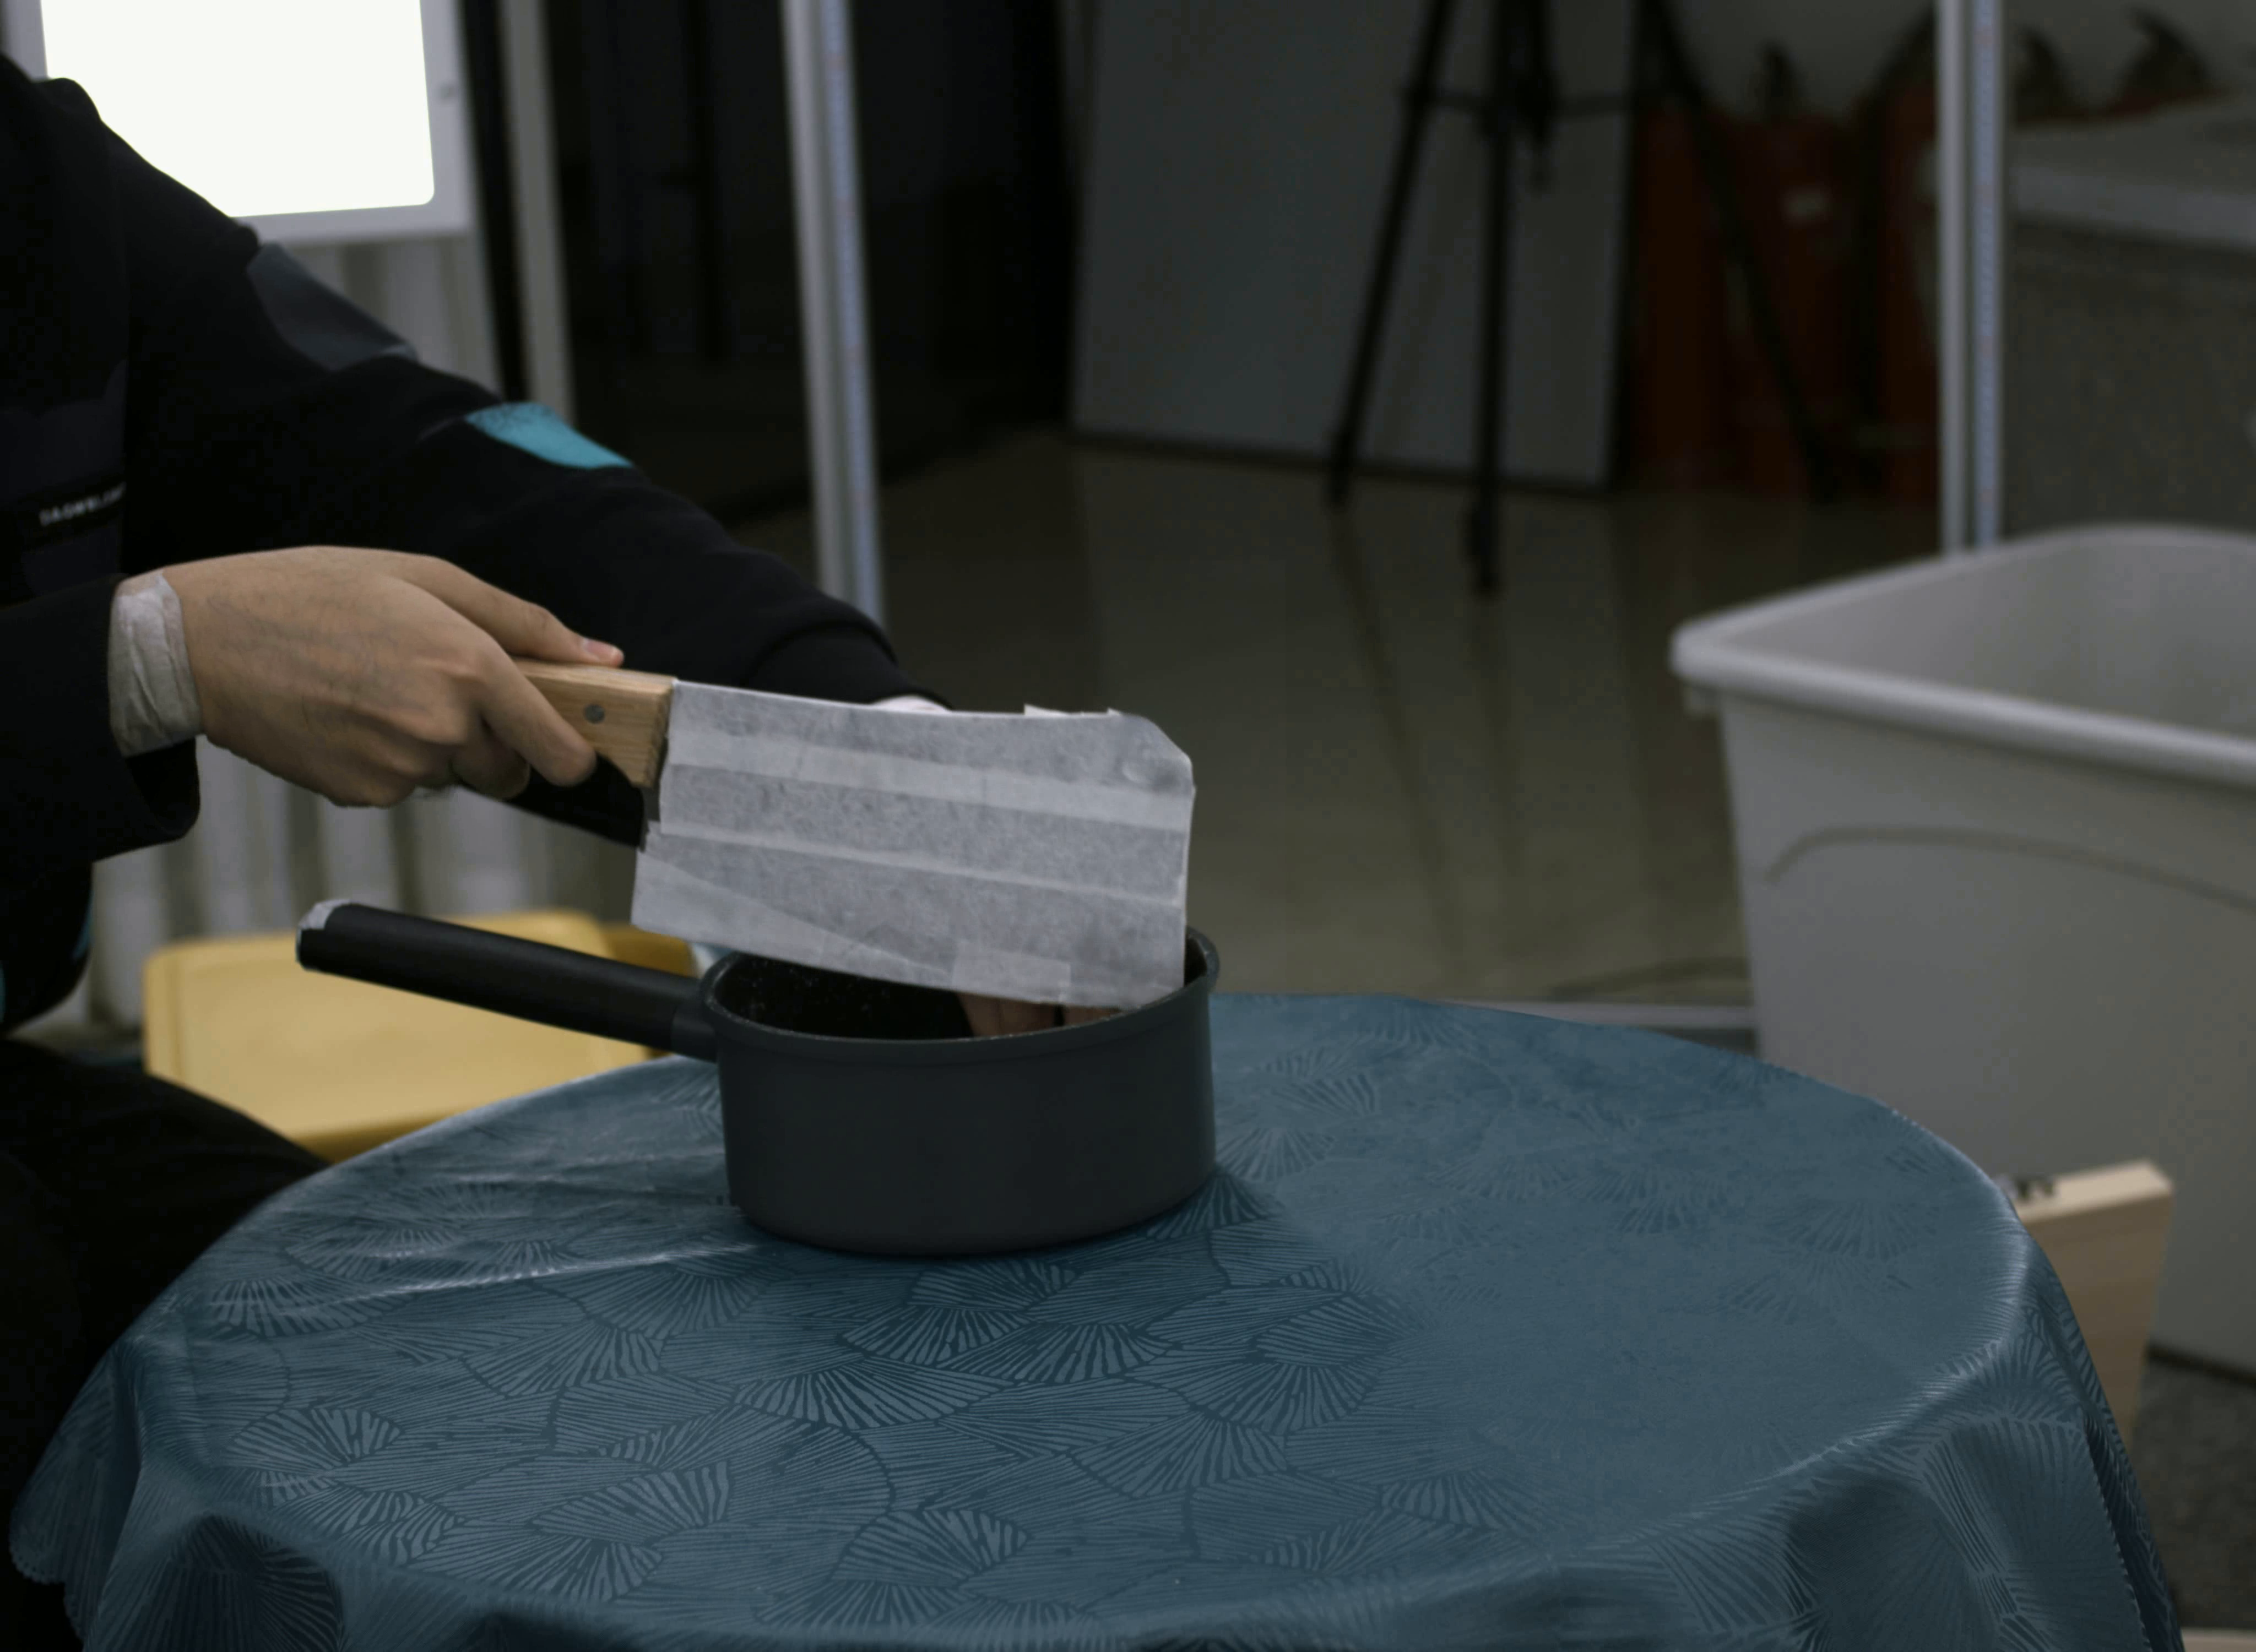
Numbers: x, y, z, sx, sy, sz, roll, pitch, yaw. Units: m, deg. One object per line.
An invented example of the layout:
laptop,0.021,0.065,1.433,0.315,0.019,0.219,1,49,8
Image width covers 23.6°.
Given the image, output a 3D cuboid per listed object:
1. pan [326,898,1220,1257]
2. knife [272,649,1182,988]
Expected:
pan,-0.124,0.077,1.810,0.329,0.087,0.170,3,13,25
knife,-0.127,-0.014,1.757,0.313,0.115,0.021,12,14,7
